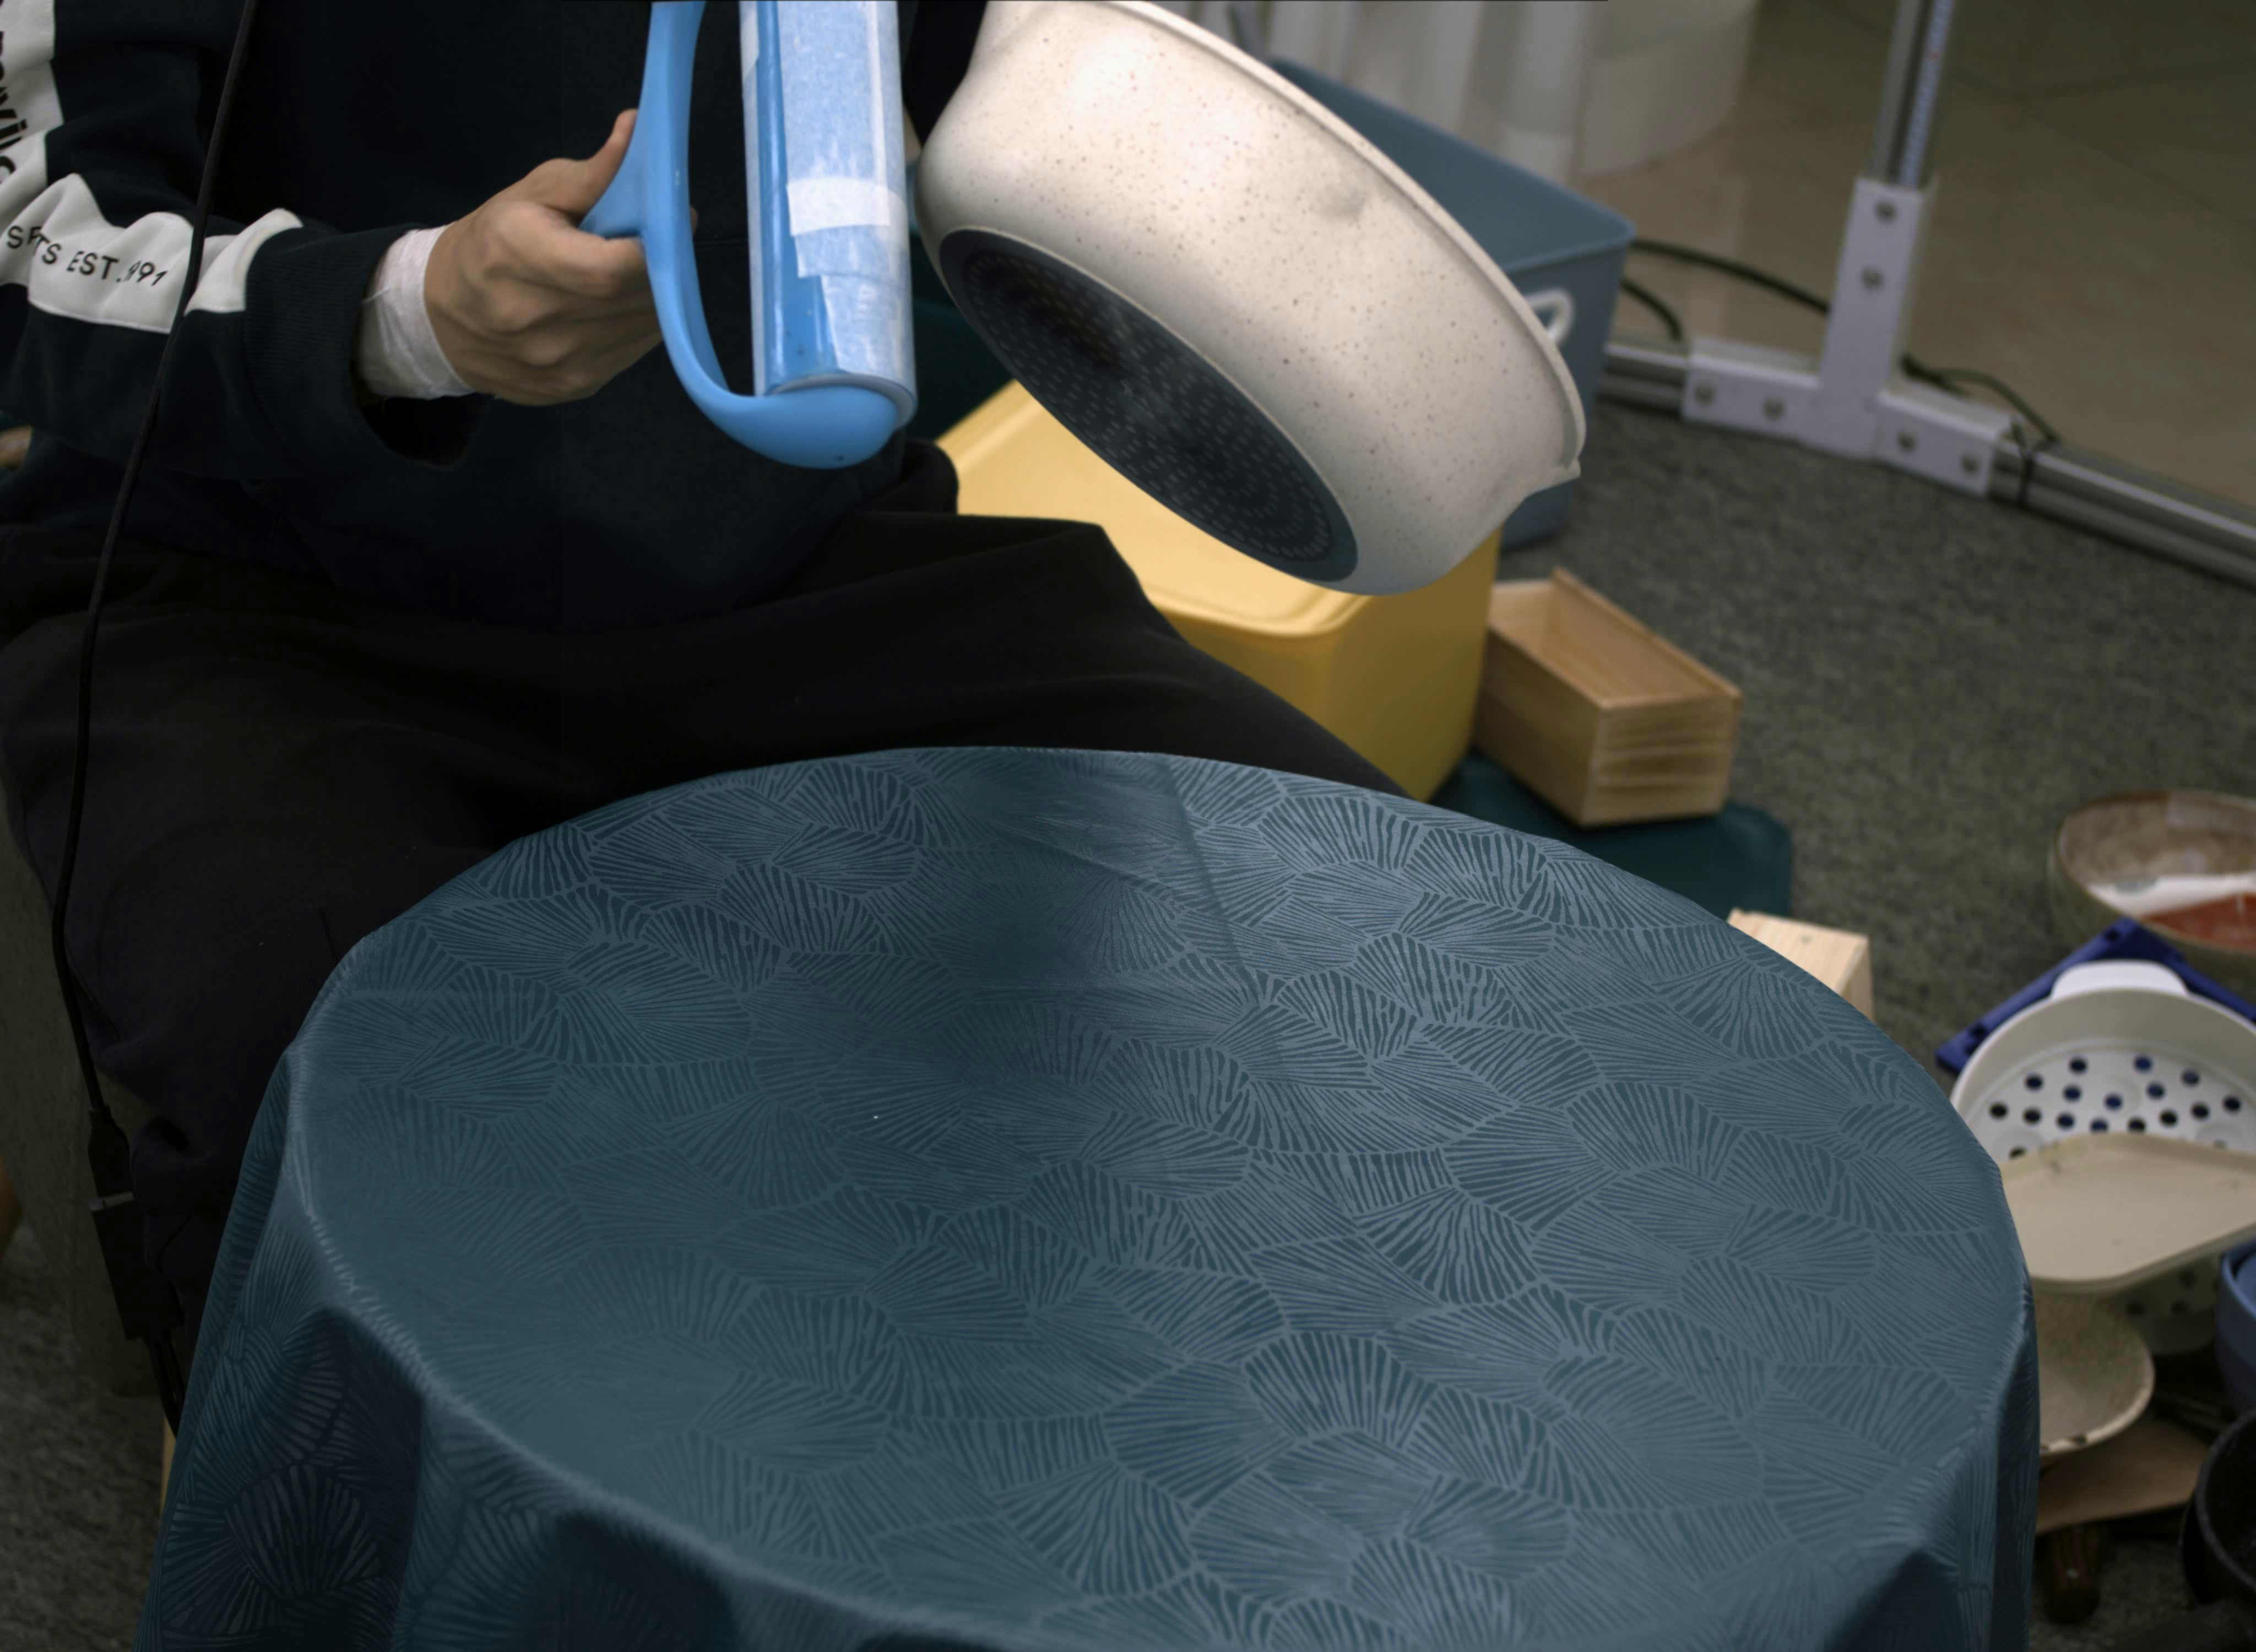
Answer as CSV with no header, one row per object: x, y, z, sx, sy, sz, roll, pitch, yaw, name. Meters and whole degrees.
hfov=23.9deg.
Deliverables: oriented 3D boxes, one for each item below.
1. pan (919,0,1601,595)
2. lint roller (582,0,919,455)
0.019,-0.170,1.912,0.262,0.102,0.435,38,-12,-7,pan
-0.143,-0.208,1.816,0.067,0.180,0.231,19,56,-42,lint roller
